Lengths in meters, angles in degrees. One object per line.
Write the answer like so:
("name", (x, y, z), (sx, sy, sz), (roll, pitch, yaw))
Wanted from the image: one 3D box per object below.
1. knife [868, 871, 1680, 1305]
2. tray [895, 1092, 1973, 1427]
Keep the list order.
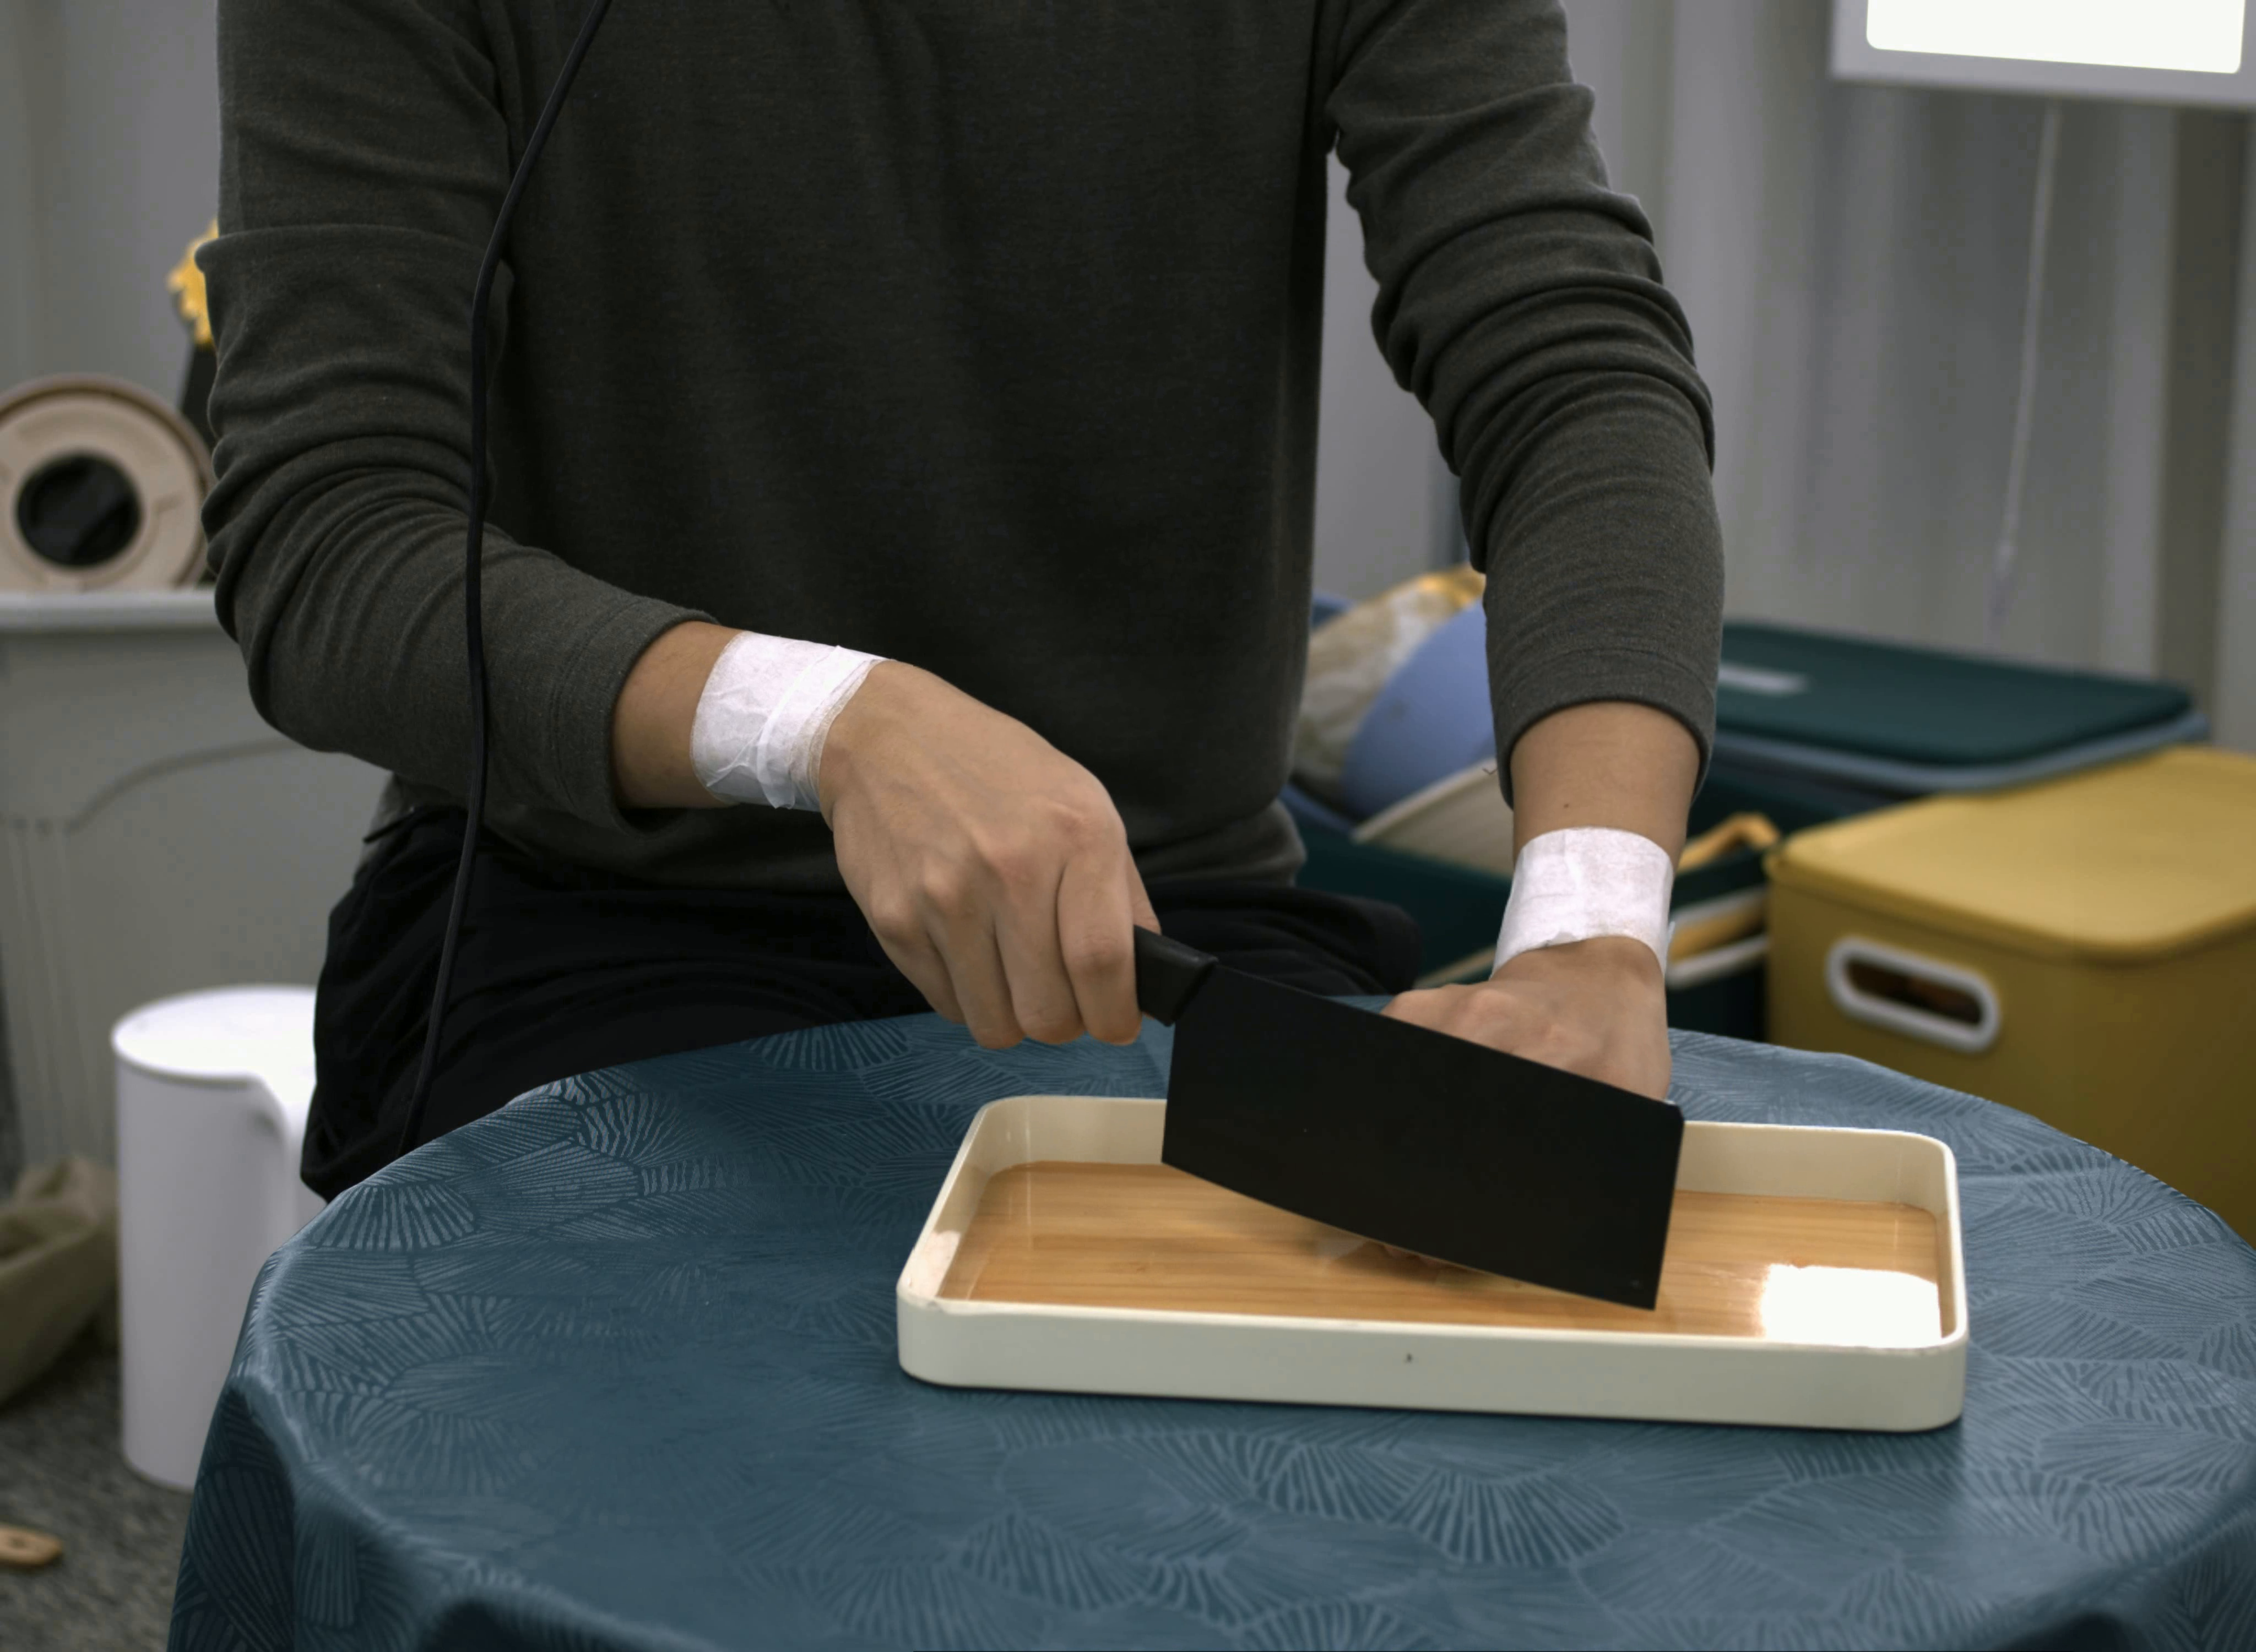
("knife", (0.037, 0.071, 1.550), (0.298, 0.081, 0.021), (21, 19, 35))
("tray", (0.092, 0.124, 1.534), (0.299, 0.027, 0.191), (2, 15, 6))
